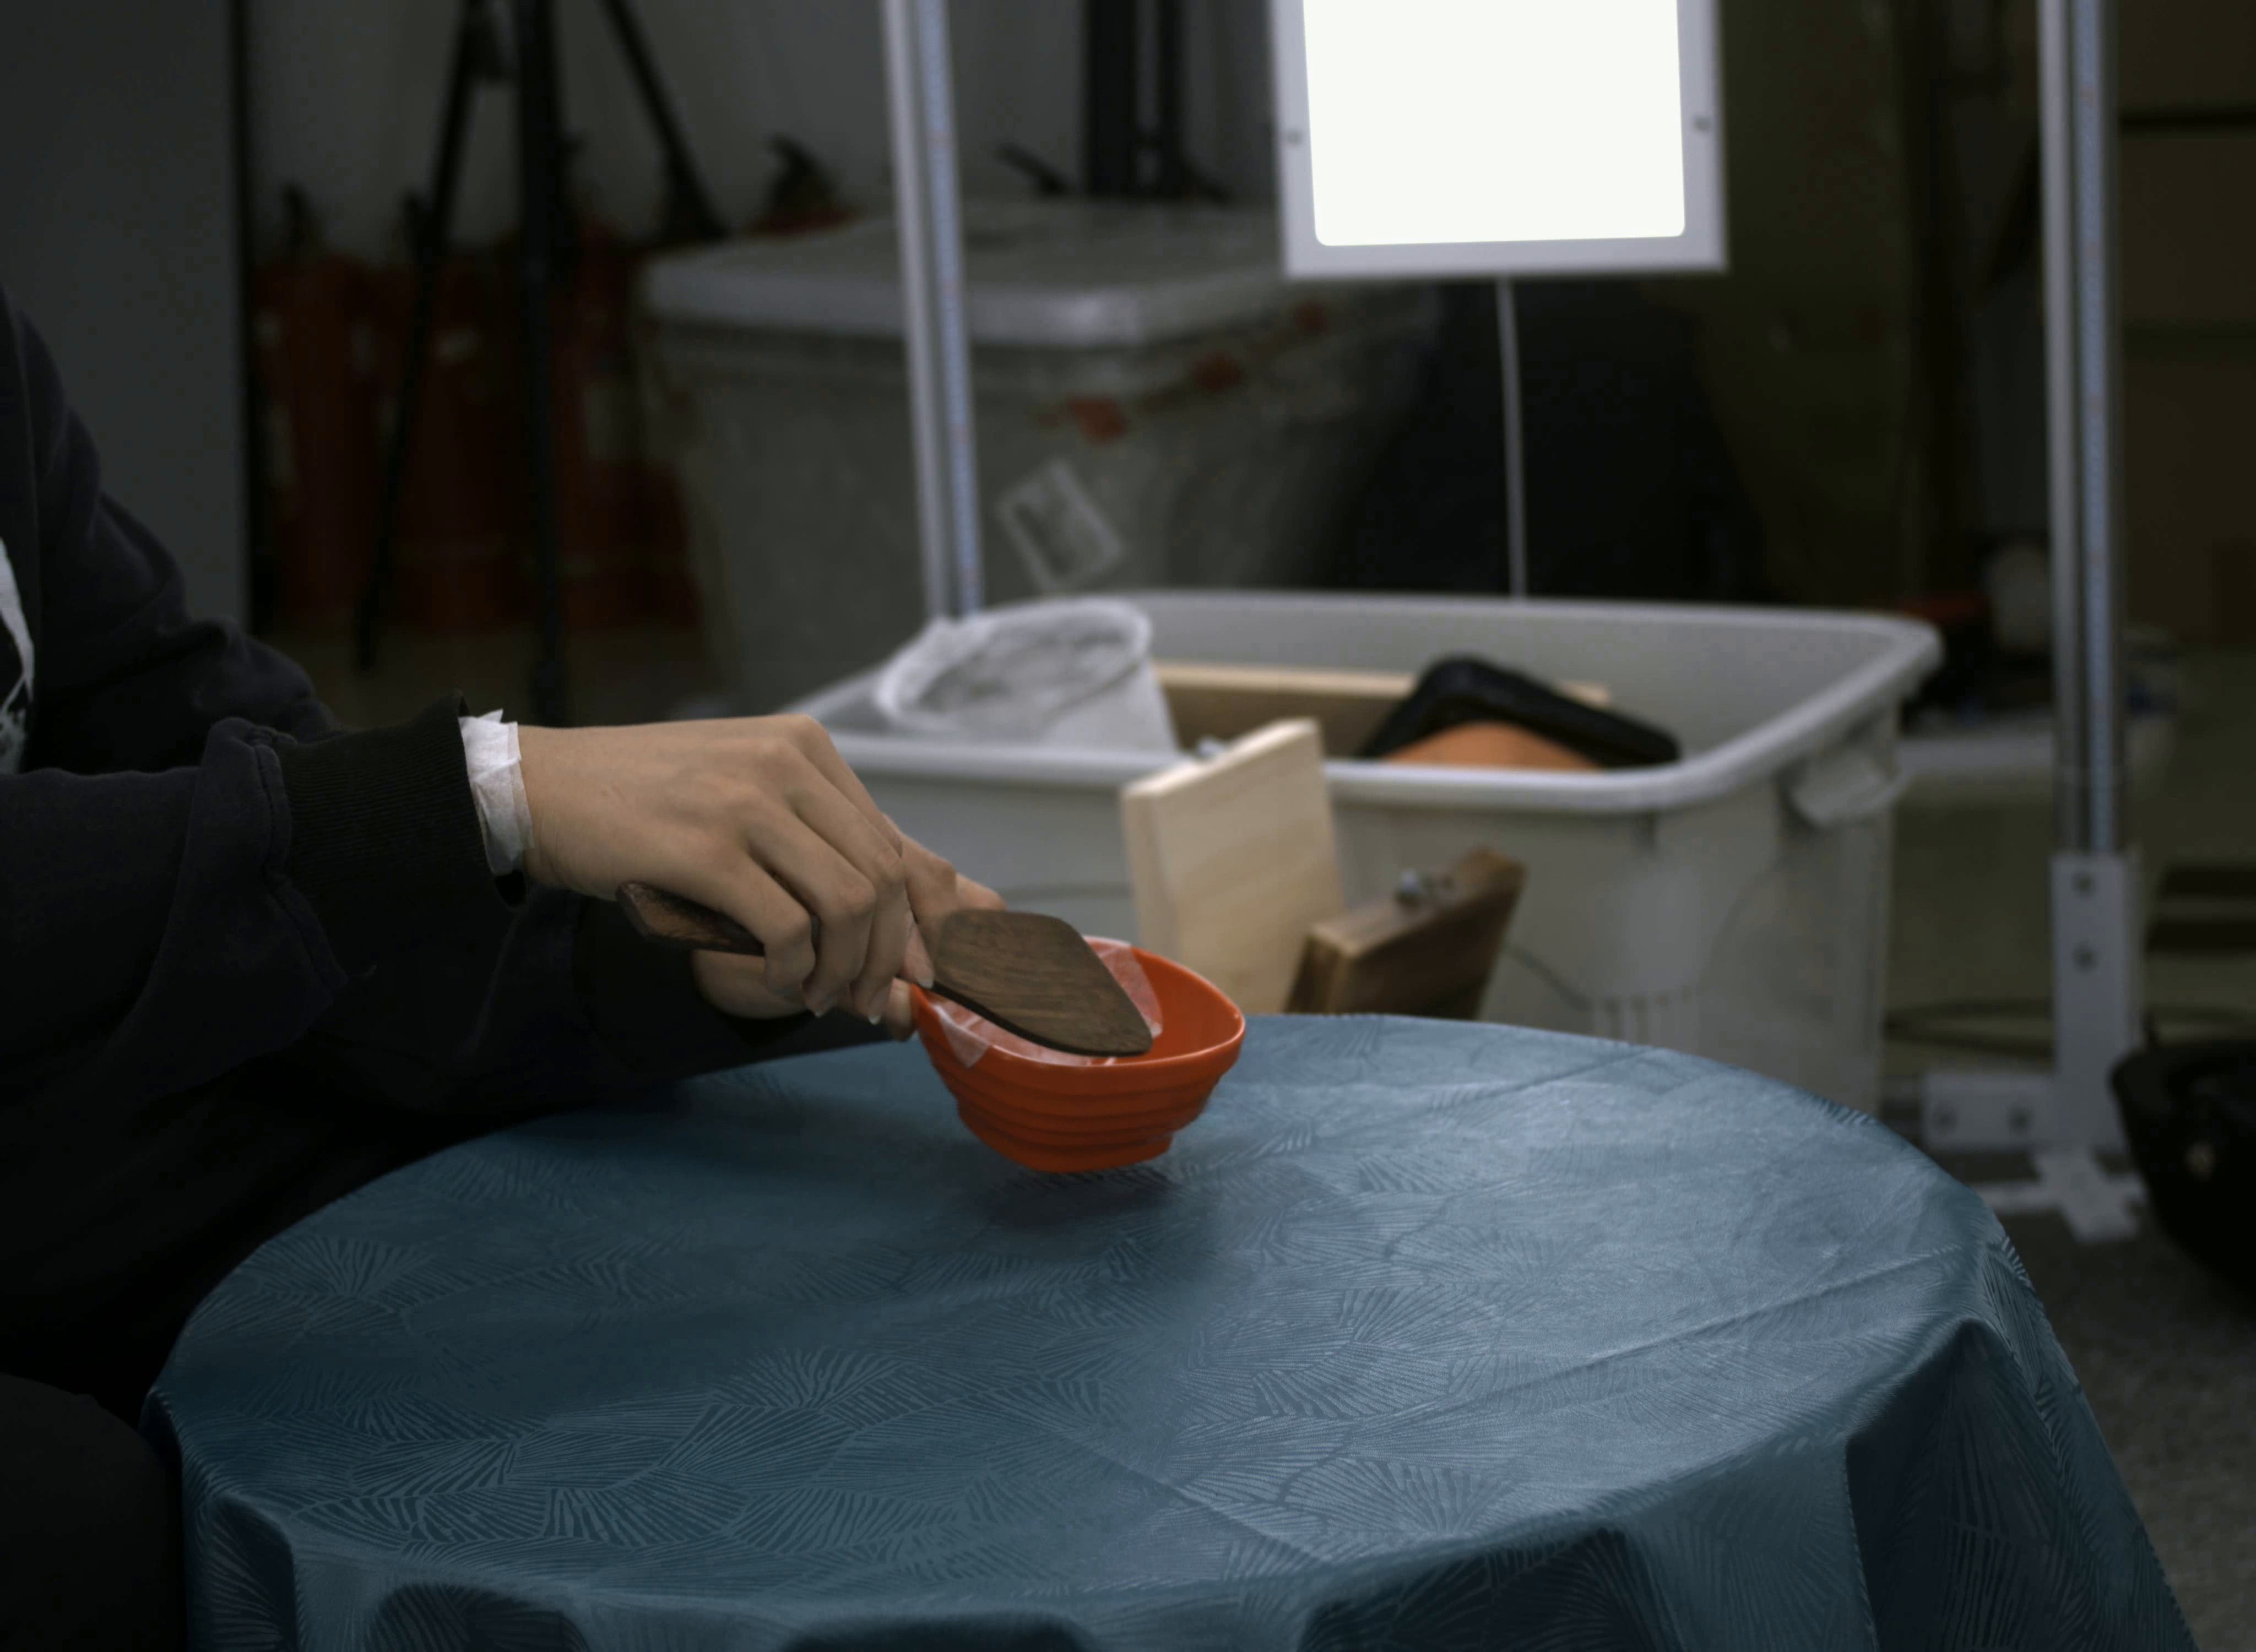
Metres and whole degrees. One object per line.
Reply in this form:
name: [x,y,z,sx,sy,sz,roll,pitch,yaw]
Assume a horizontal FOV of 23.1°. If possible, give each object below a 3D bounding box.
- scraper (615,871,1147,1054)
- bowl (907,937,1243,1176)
scraper: [-0.082,0.039,1.796,0.206,0.011,0.076,12,32,-42]
bowl: [-0.021,0.084,1.921,0.118,0.052,0.118,7,22,-4]
